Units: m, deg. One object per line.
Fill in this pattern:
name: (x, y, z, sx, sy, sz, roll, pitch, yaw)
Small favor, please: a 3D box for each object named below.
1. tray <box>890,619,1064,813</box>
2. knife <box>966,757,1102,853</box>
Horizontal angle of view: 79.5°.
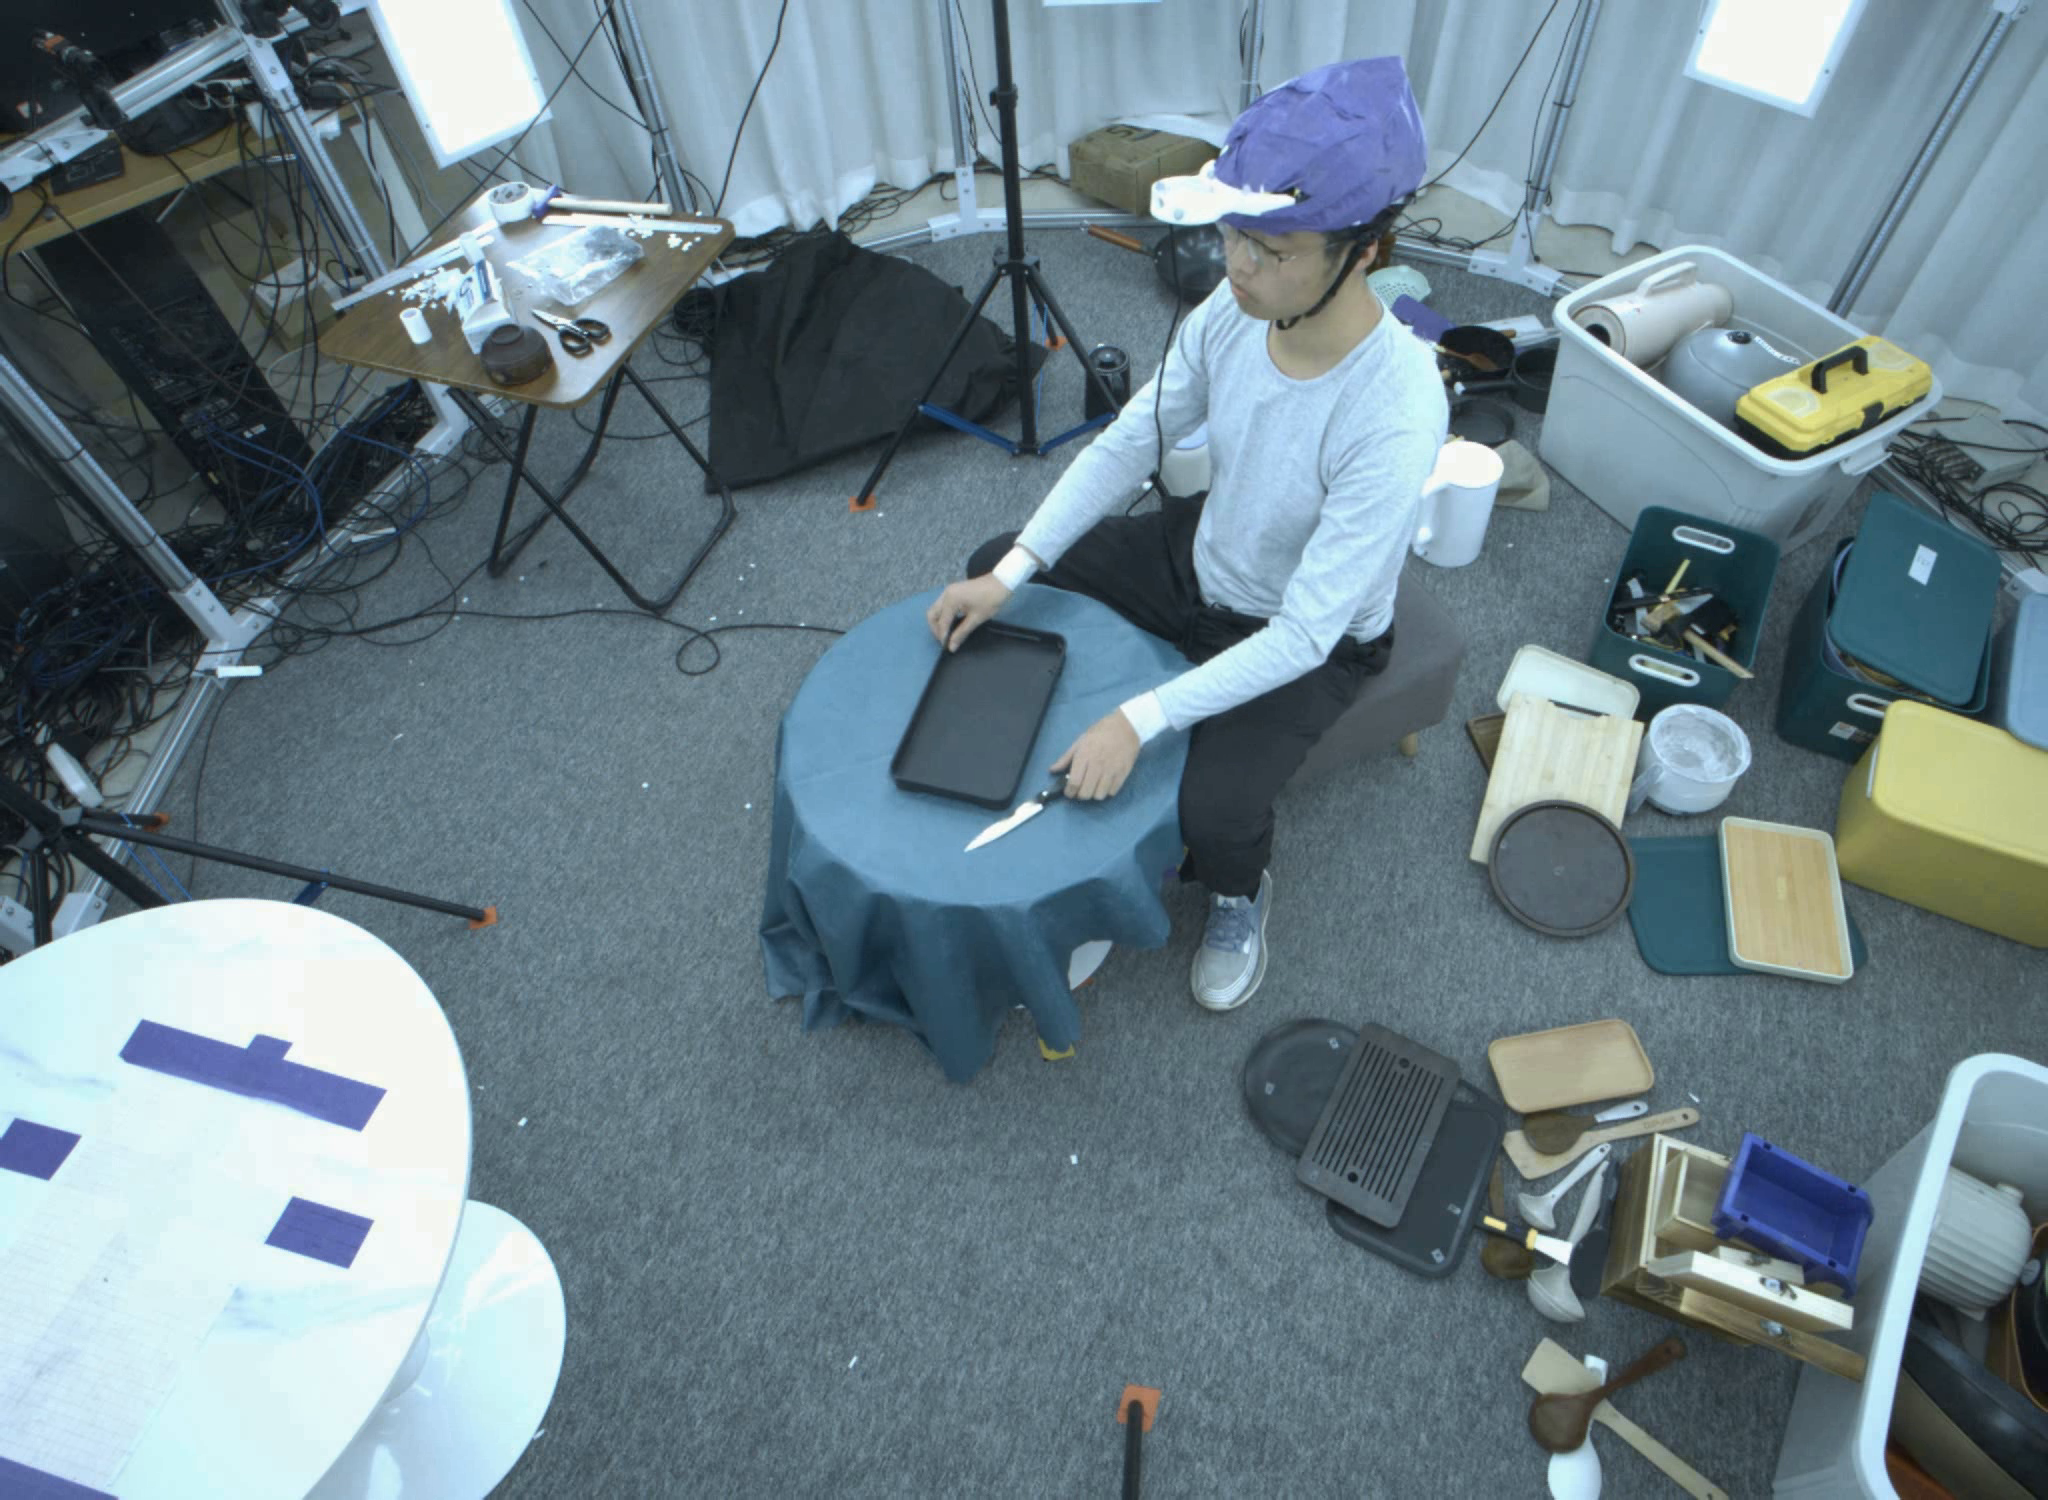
tray: (-0.065, -0.057, 1.815, 0.183, 0.037, 0.317, 12, 55, 9)
knife: (0.013, 0.076, 1.733, 0.240, 0.016, 0.024, -34, 62, -18)
